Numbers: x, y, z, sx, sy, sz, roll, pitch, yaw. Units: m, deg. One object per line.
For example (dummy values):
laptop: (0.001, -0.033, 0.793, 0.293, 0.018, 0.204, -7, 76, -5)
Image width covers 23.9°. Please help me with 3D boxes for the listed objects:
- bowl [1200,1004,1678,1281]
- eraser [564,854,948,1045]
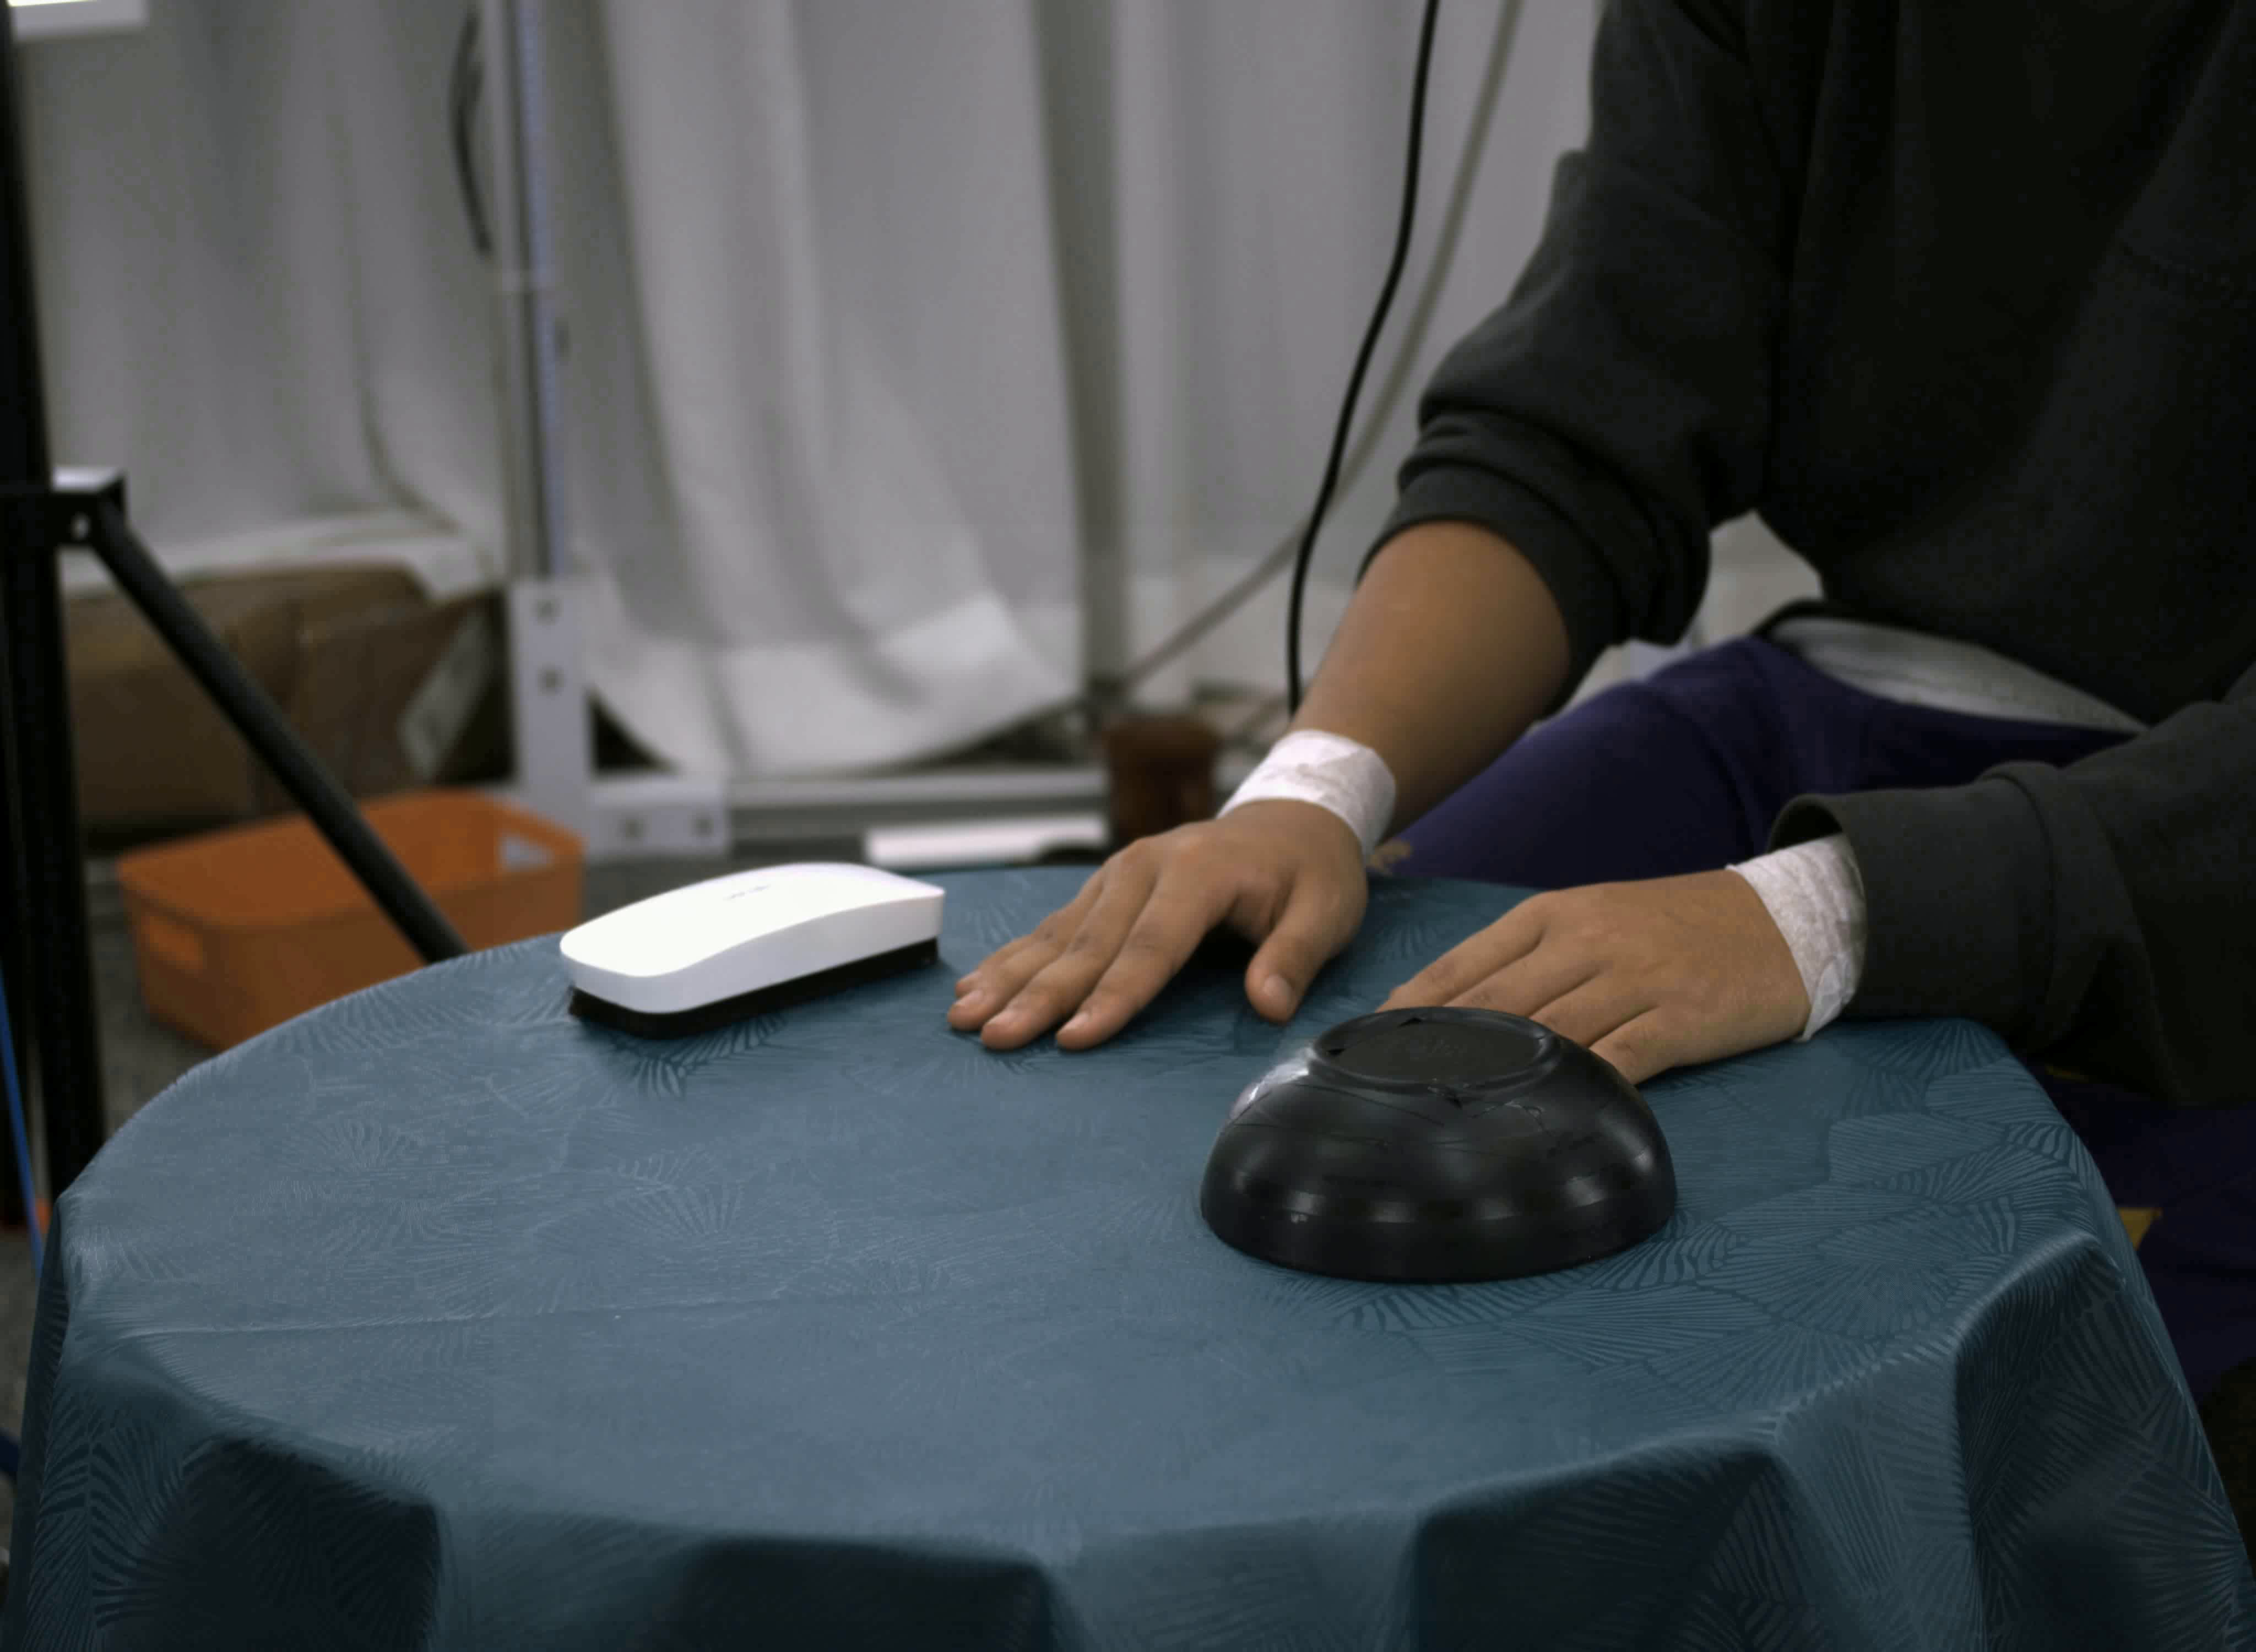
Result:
bowl: (0.089, 0.085, 1.532, 0.139, 0.050, 0.141, -4, 16, 0)
eraser: (-0.121, 0.038, 1.770, 0.128, 0.034, 0.065, -17, 22, -37)
